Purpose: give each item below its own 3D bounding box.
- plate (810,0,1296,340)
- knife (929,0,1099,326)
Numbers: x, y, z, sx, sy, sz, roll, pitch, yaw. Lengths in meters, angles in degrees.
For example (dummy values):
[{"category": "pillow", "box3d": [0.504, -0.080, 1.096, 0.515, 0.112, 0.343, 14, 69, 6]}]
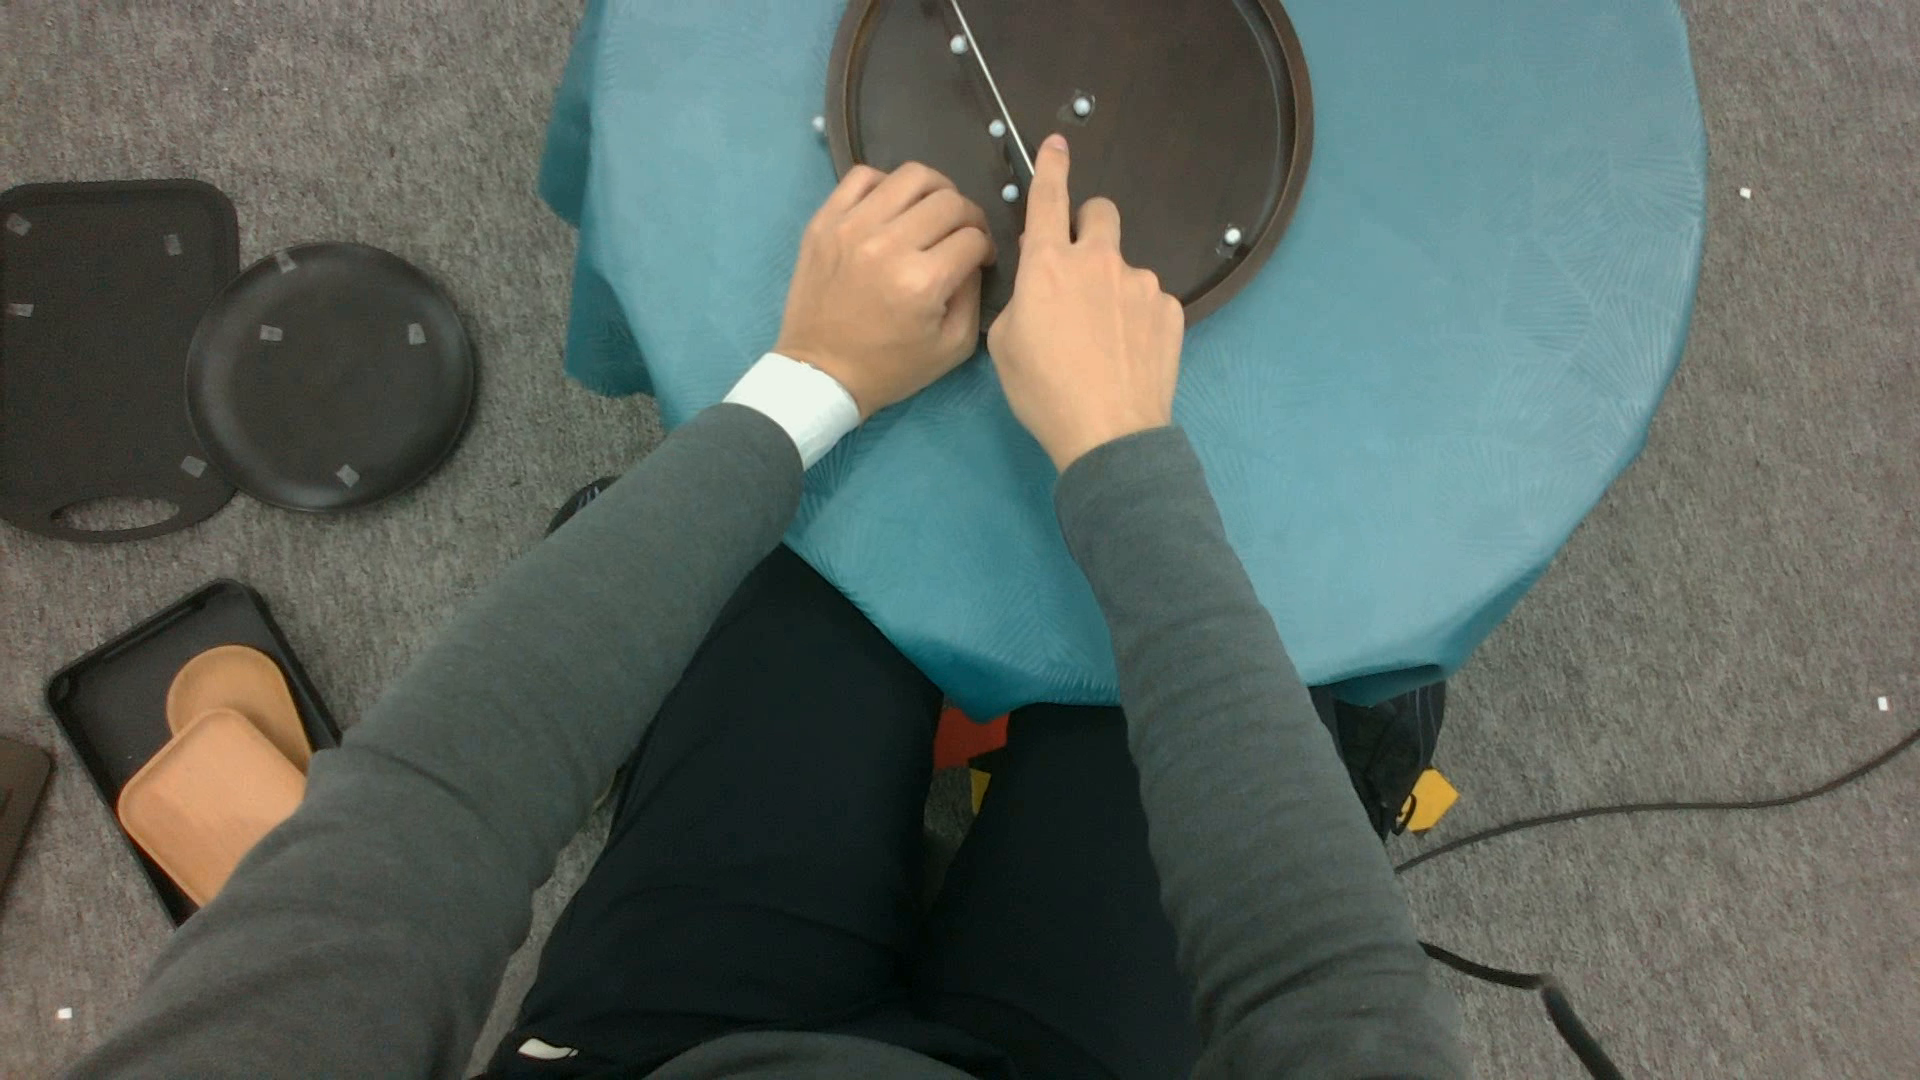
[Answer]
[{"category": "plate", "box3d": [0.050, -0.225, 0.718, 0.255, 0.029, 0.255, 1, 81, -5]}, {"category": "knife", "box3d": [0.015, -0.211, 0.679, 0.016, 0.024, 0.238, -23, 76, -2]}]
